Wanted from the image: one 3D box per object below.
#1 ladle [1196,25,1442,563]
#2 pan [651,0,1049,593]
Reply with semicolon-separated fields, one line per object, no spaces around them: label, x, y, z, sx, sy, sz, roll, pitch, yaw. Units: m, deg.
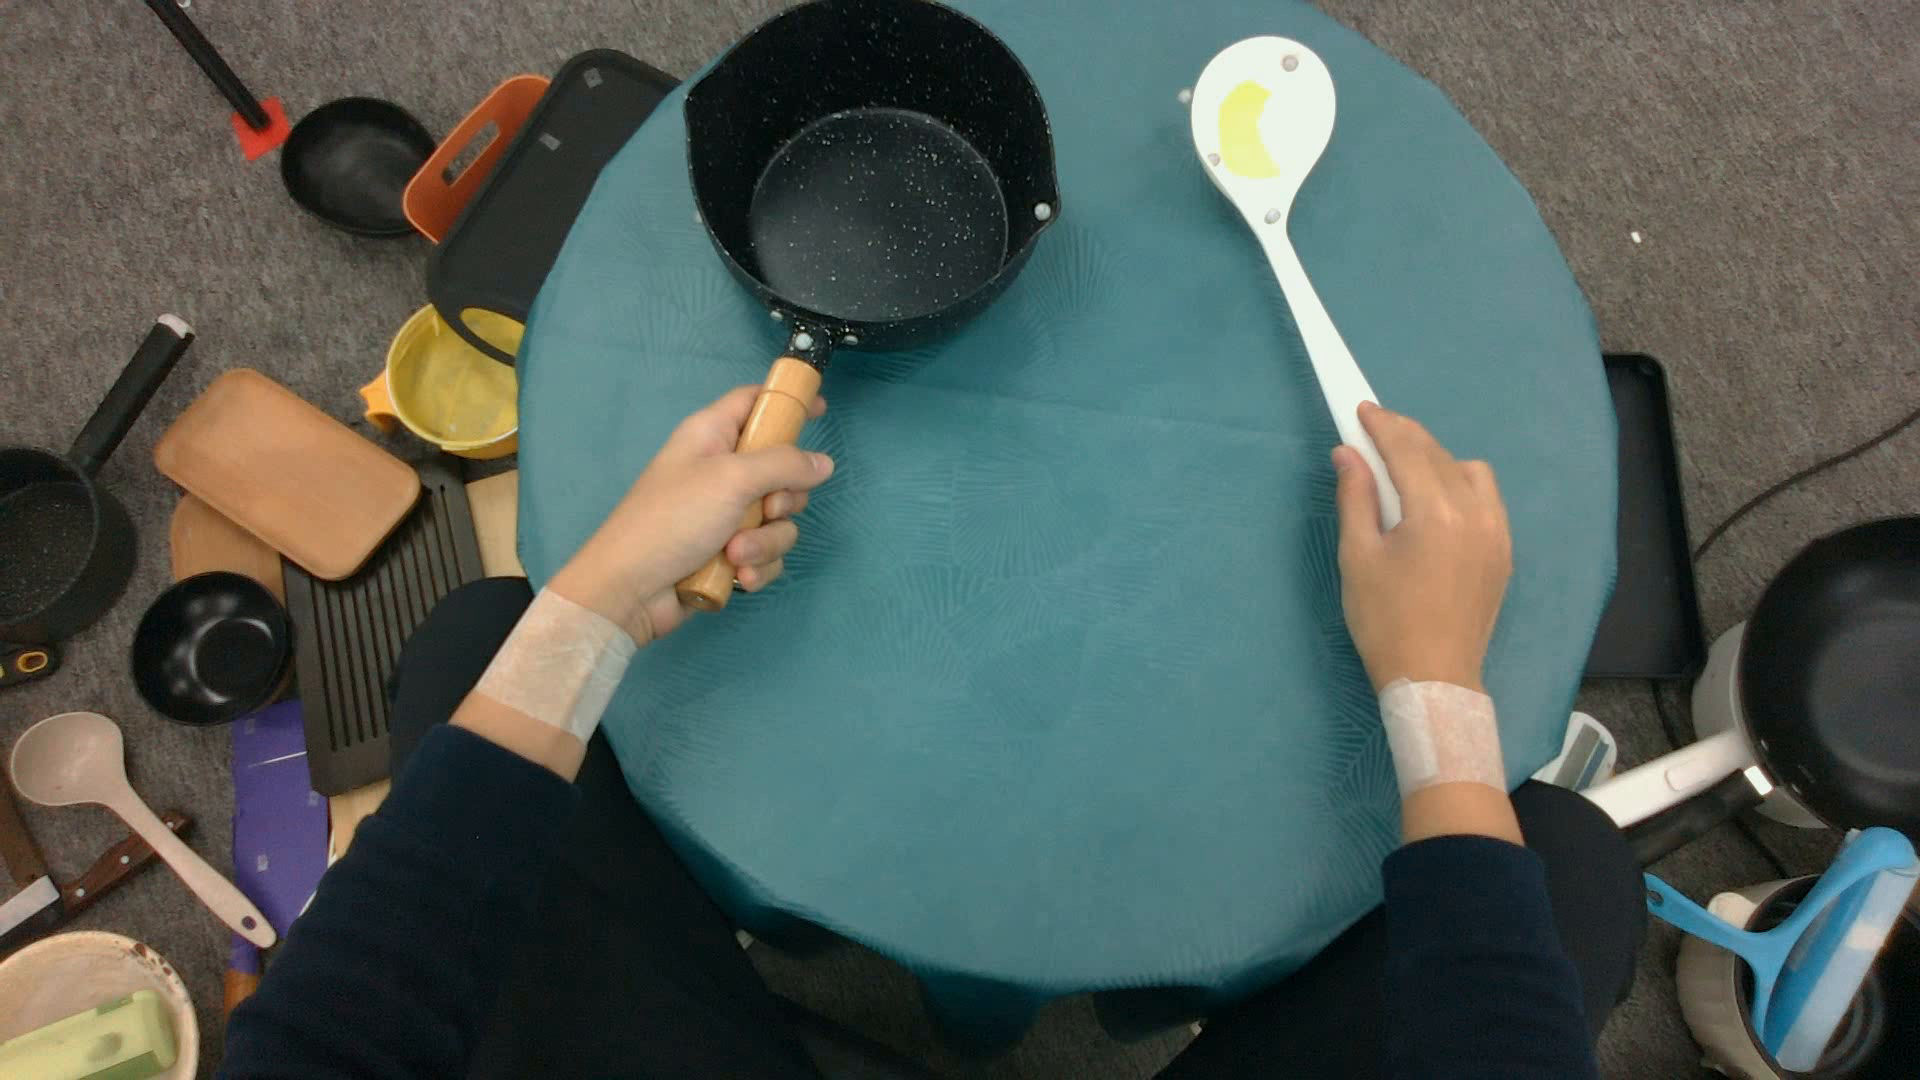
ladle;0.198;-0.134;0.736;0.090;0.069;0.293;-10;72;-24
pan;-0.075;-0.123;0.704;0.207;0.108;0.343;17;75;2
